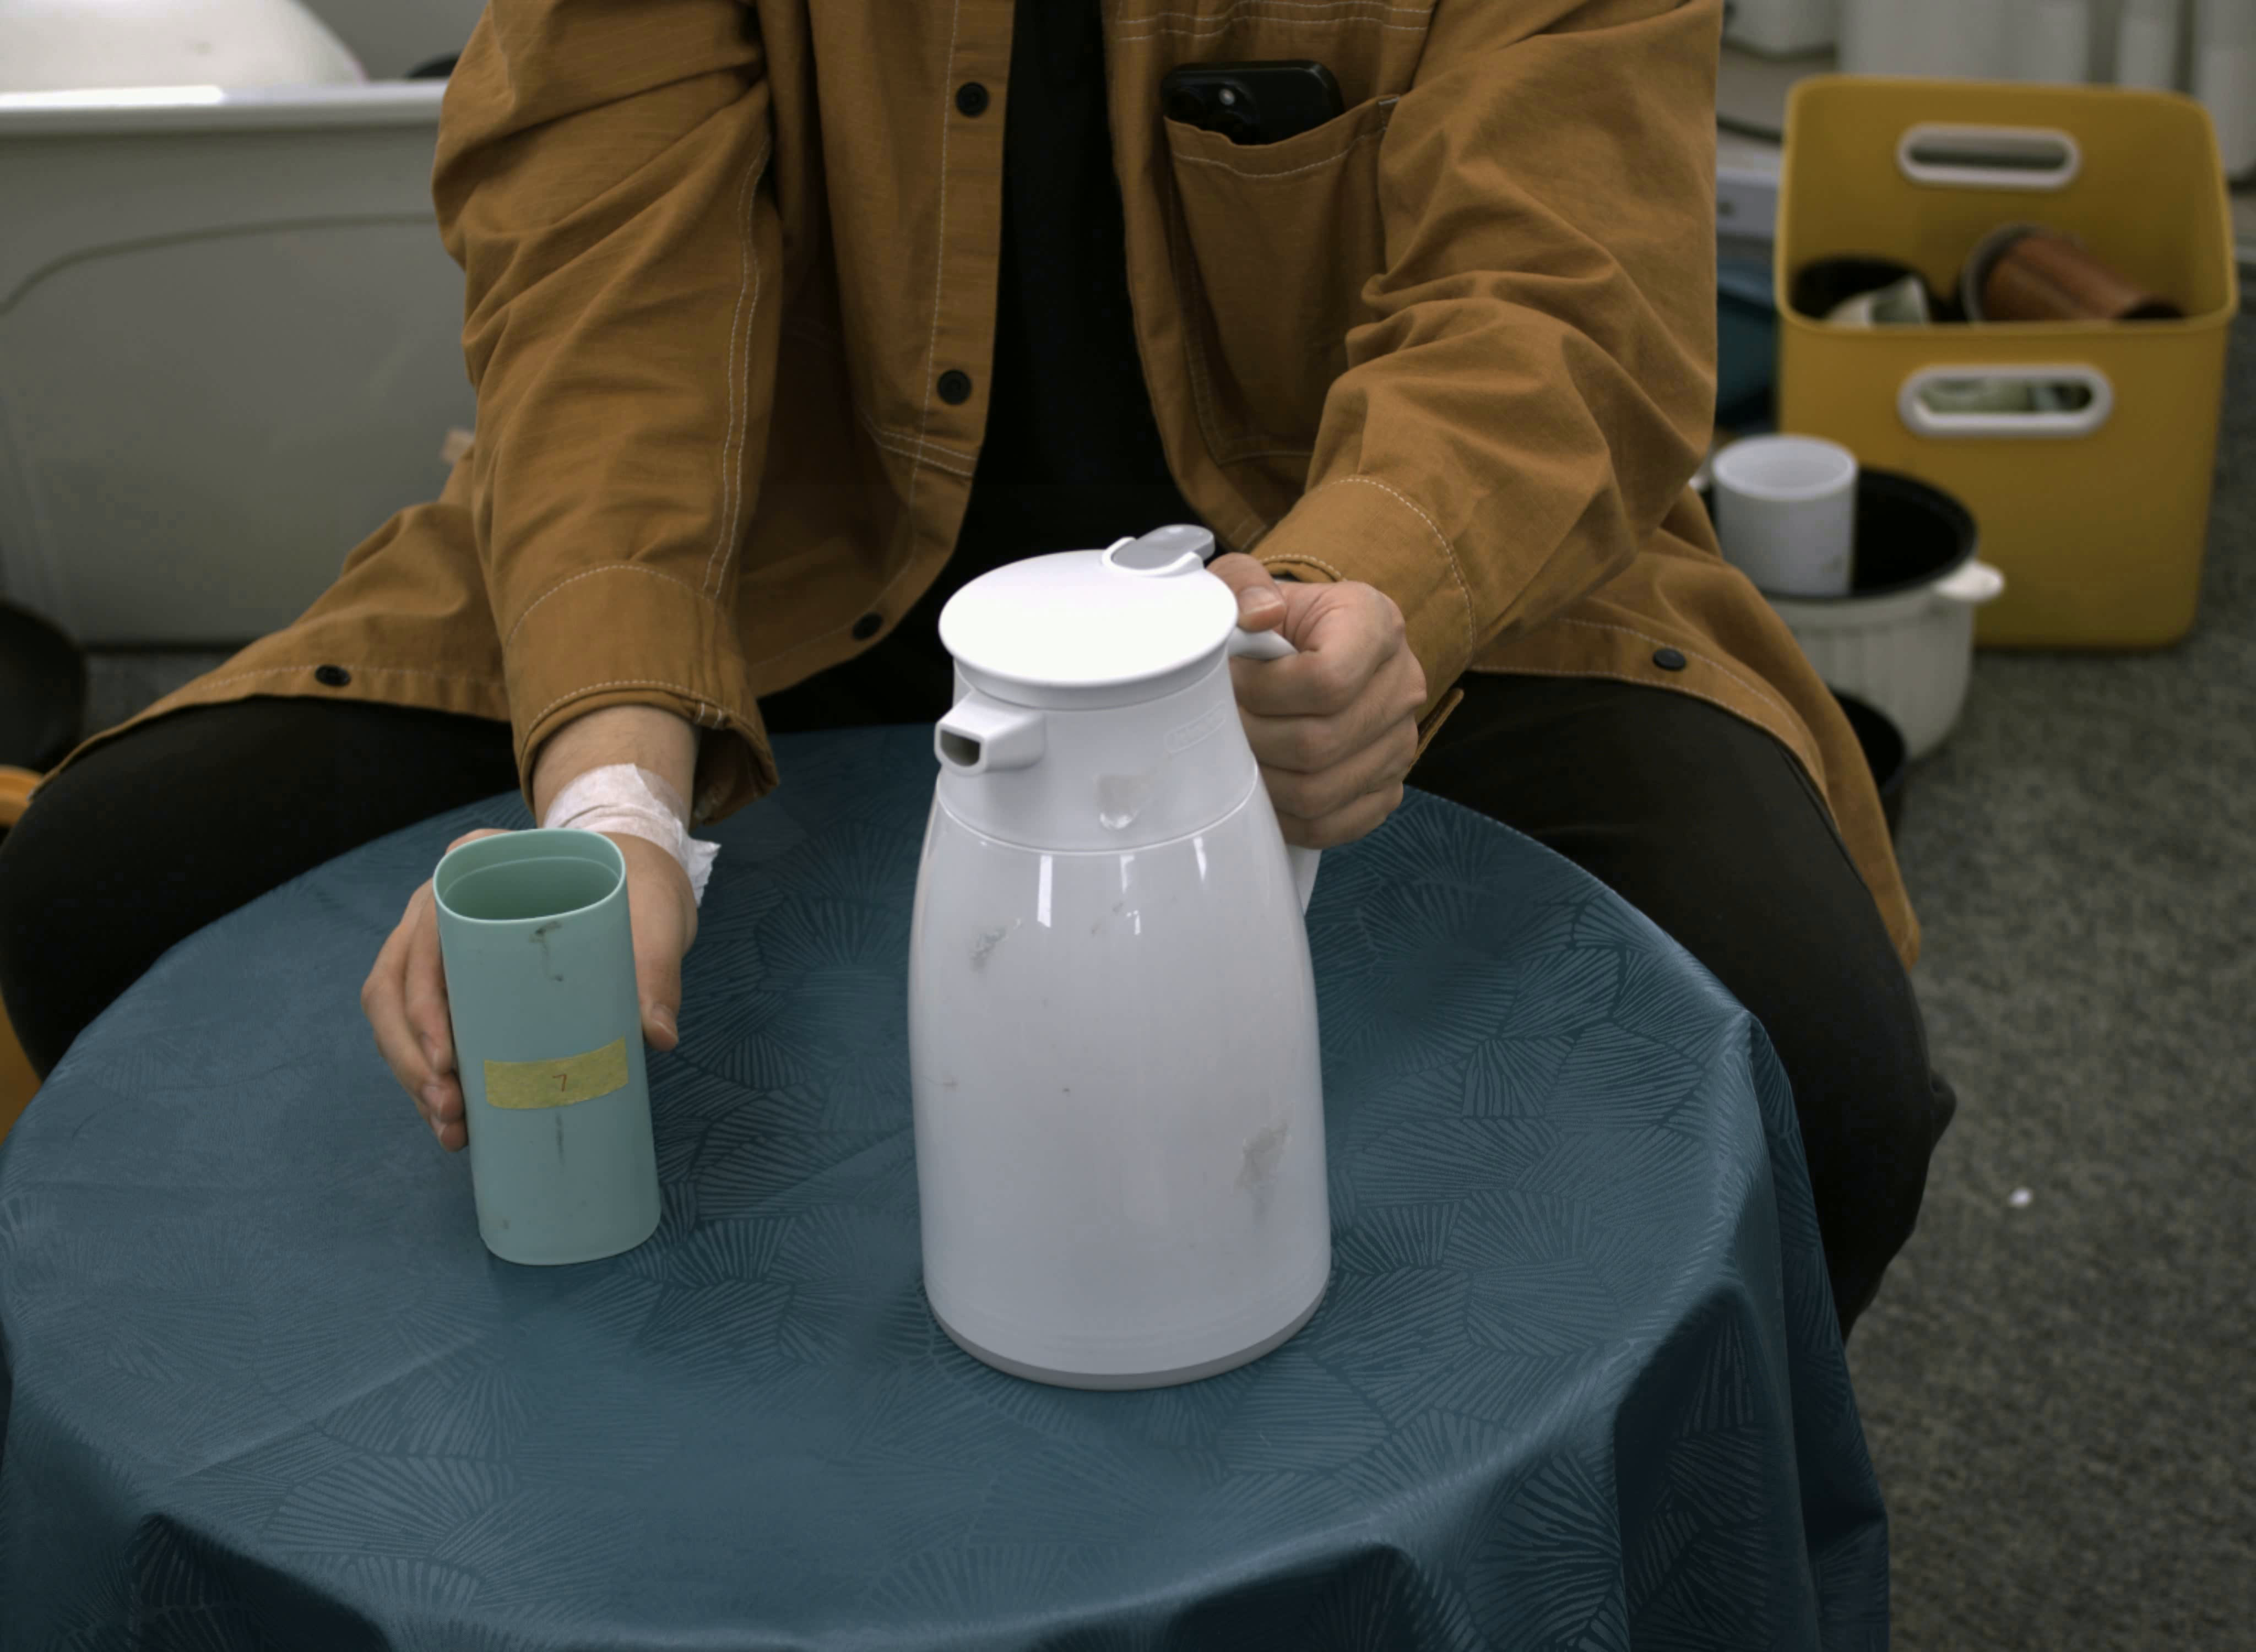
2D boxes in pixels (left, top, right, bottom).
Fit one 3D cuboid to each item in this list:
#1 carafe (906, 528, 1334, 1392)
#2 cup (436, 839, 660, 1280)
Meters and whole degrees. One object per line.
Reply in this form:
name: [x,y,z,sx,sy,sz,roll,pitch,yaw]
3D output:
carafe: [0.005,0.031,1.772,0.132,0.246,0.170,19,33,35]
cup: [-0.188,0.076,1.833,0.066,0.131,0.068,-2,26,1]
